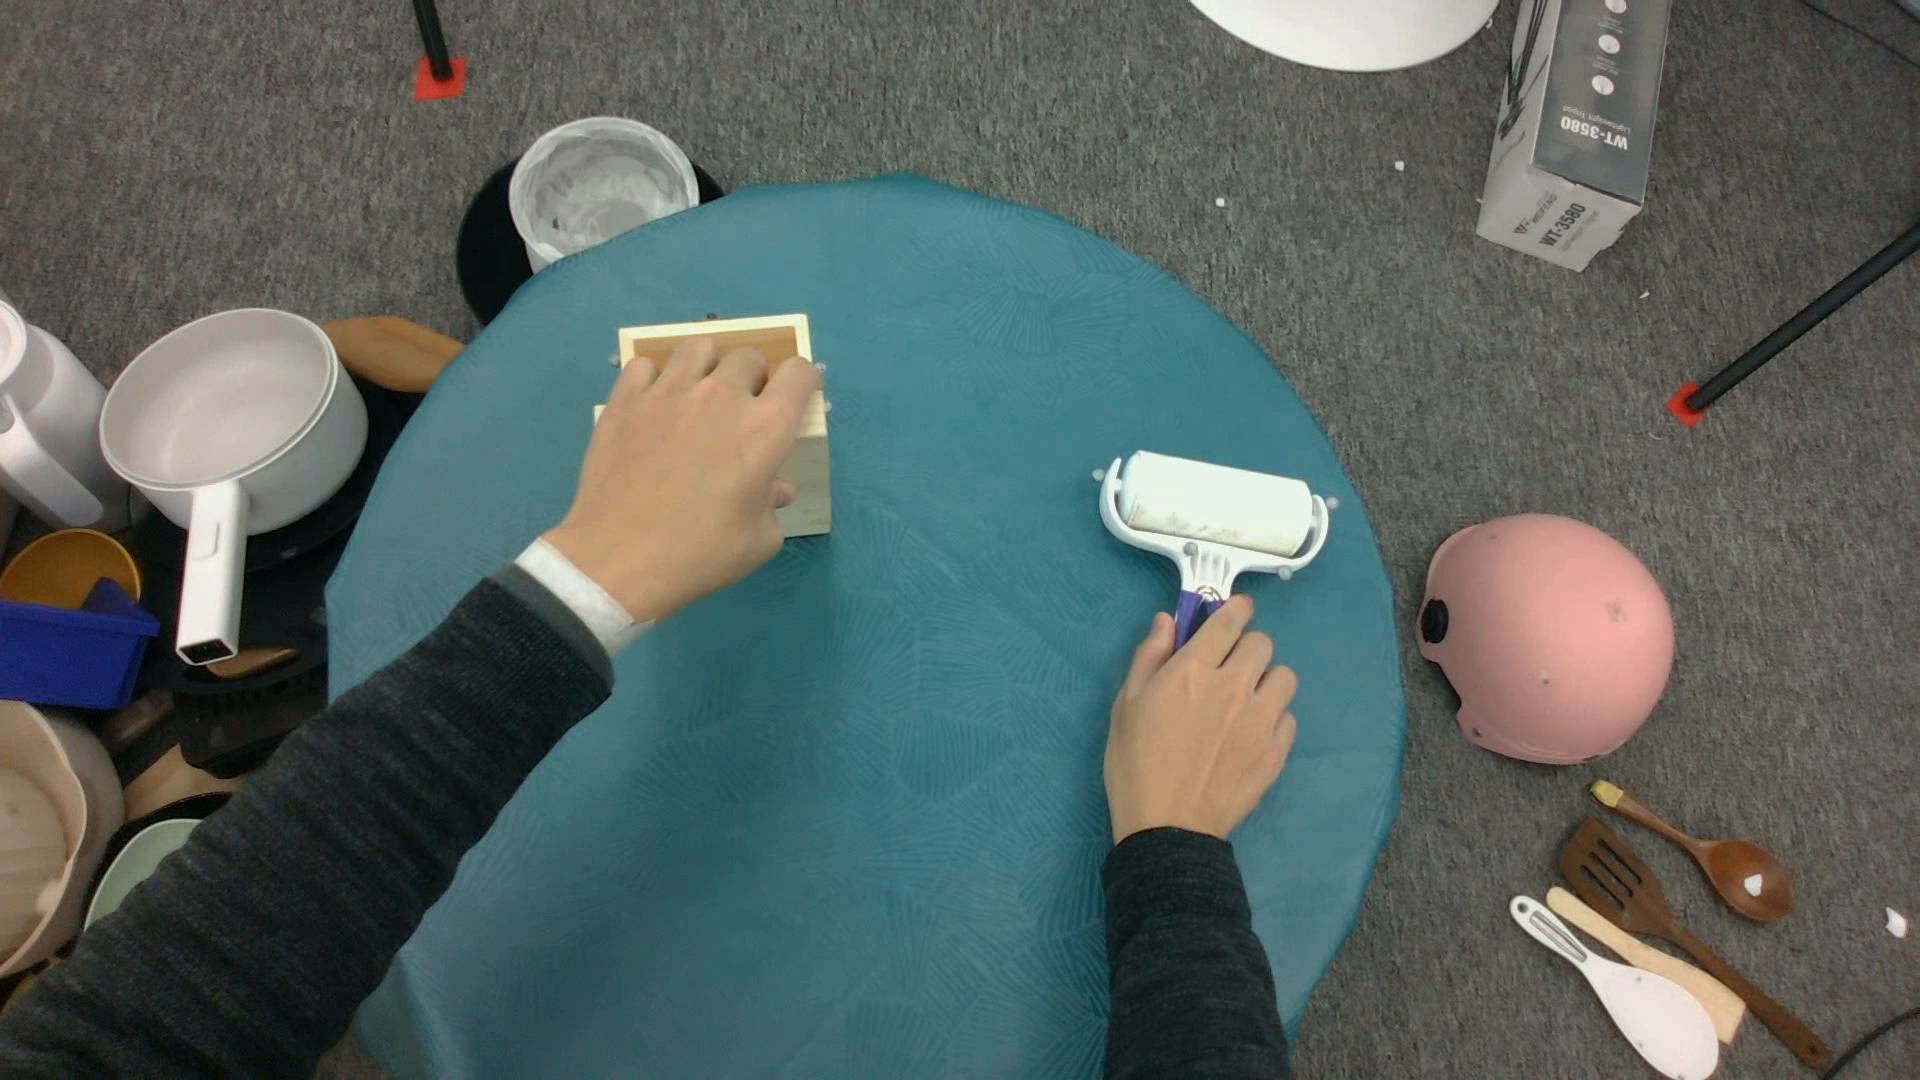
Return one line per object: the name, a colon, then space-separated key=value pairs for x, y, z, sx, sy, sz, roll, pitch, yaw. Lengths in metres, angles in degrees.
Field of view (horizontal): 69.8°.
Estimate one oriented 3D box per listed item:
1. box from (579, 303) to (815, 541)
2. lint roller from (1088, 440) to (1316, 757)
box: x=-0.131 y=-0.073 z=0.708 sx=0.102 sy=0.184 sz=0.134 roll=-7 pitch=70 yaw=-7
lint roller: x=0.132 y=0.030 z=0.775 sx=0.133 sy=0.050 sz=0.181 roll=12 pitch=61 yaw=-4
